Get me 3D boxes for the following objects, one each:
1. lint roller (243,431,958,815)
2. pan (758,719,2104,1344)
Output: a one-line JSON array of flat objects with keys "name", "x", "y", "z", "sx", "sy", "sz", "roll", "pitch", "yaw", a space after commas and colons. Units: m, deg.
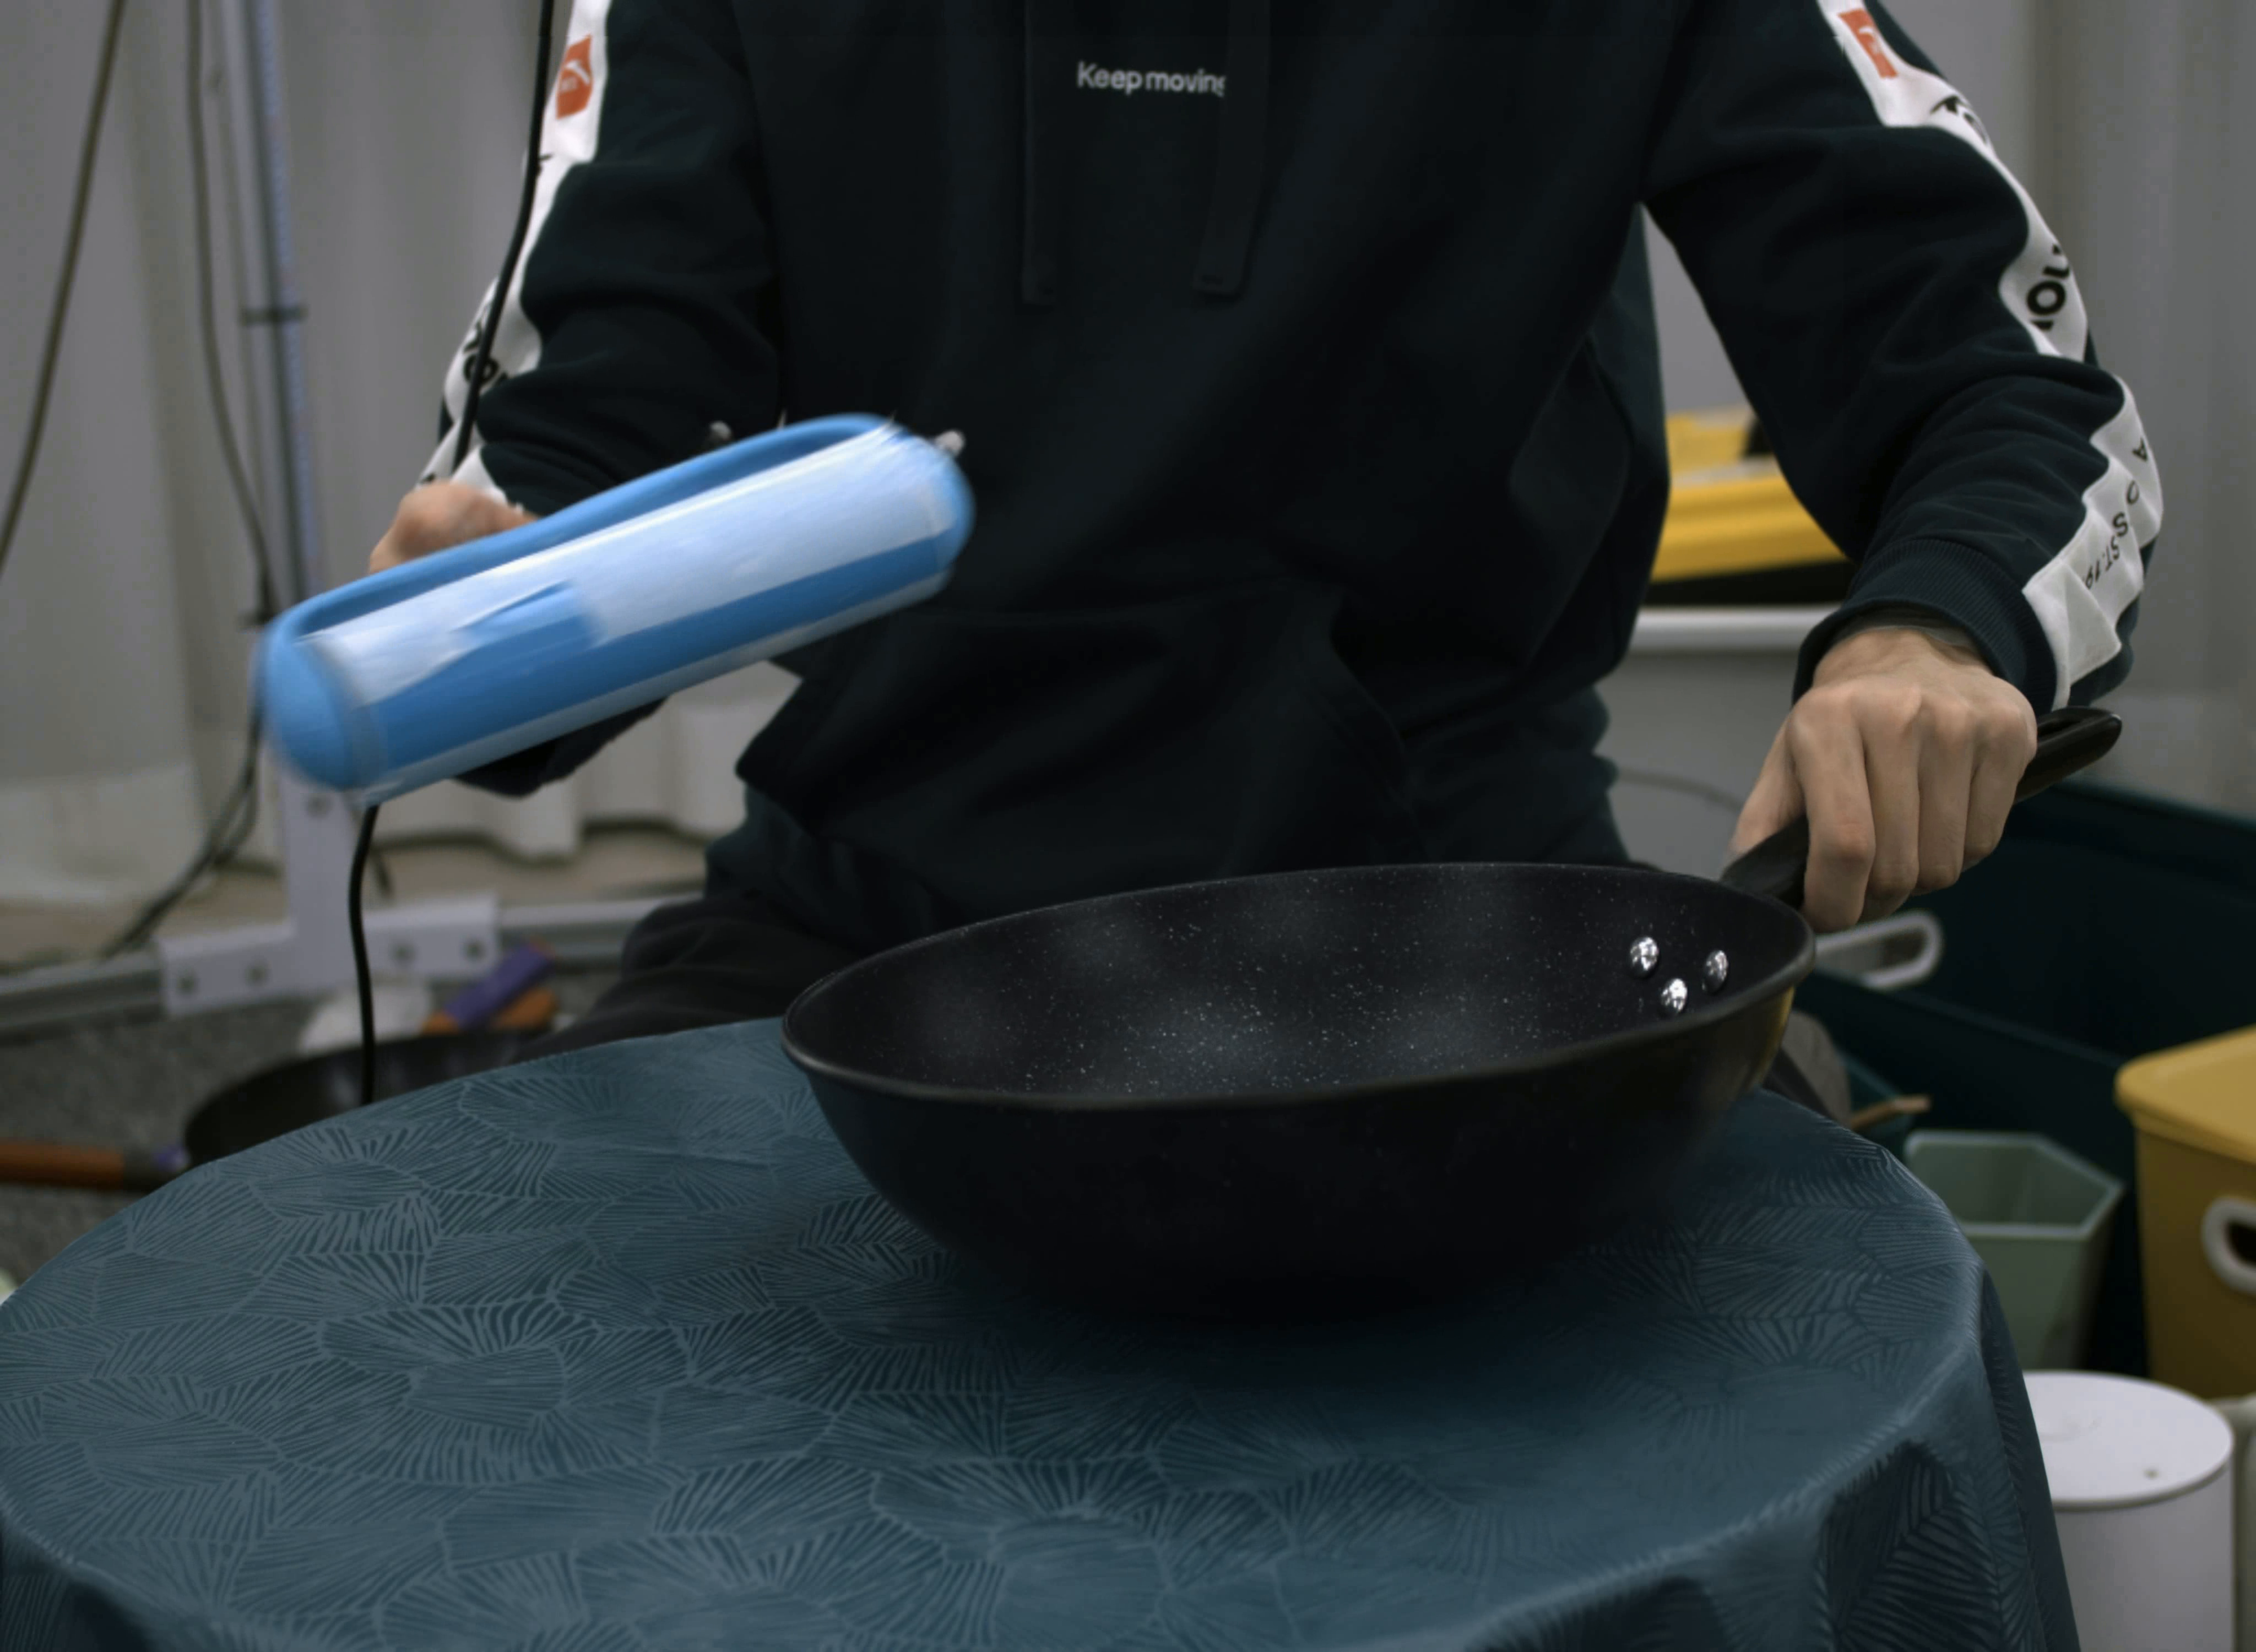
[{"name": "lint roller", "x": -0.179, "y": -0.059, "z": 1.681, "sx": 0.229, "sy": 0.068, "sz": 0.180, "roll": -23, "pitch": 8, "yaw": -25}, {"name": "pan", "x": 0.116, "y": 0.062, "z": 1.664, "sx": 0.475, "sy": 0.111, "sz": 0.312, "roll": -12, "pitch": 14, "yaw": -31}]
